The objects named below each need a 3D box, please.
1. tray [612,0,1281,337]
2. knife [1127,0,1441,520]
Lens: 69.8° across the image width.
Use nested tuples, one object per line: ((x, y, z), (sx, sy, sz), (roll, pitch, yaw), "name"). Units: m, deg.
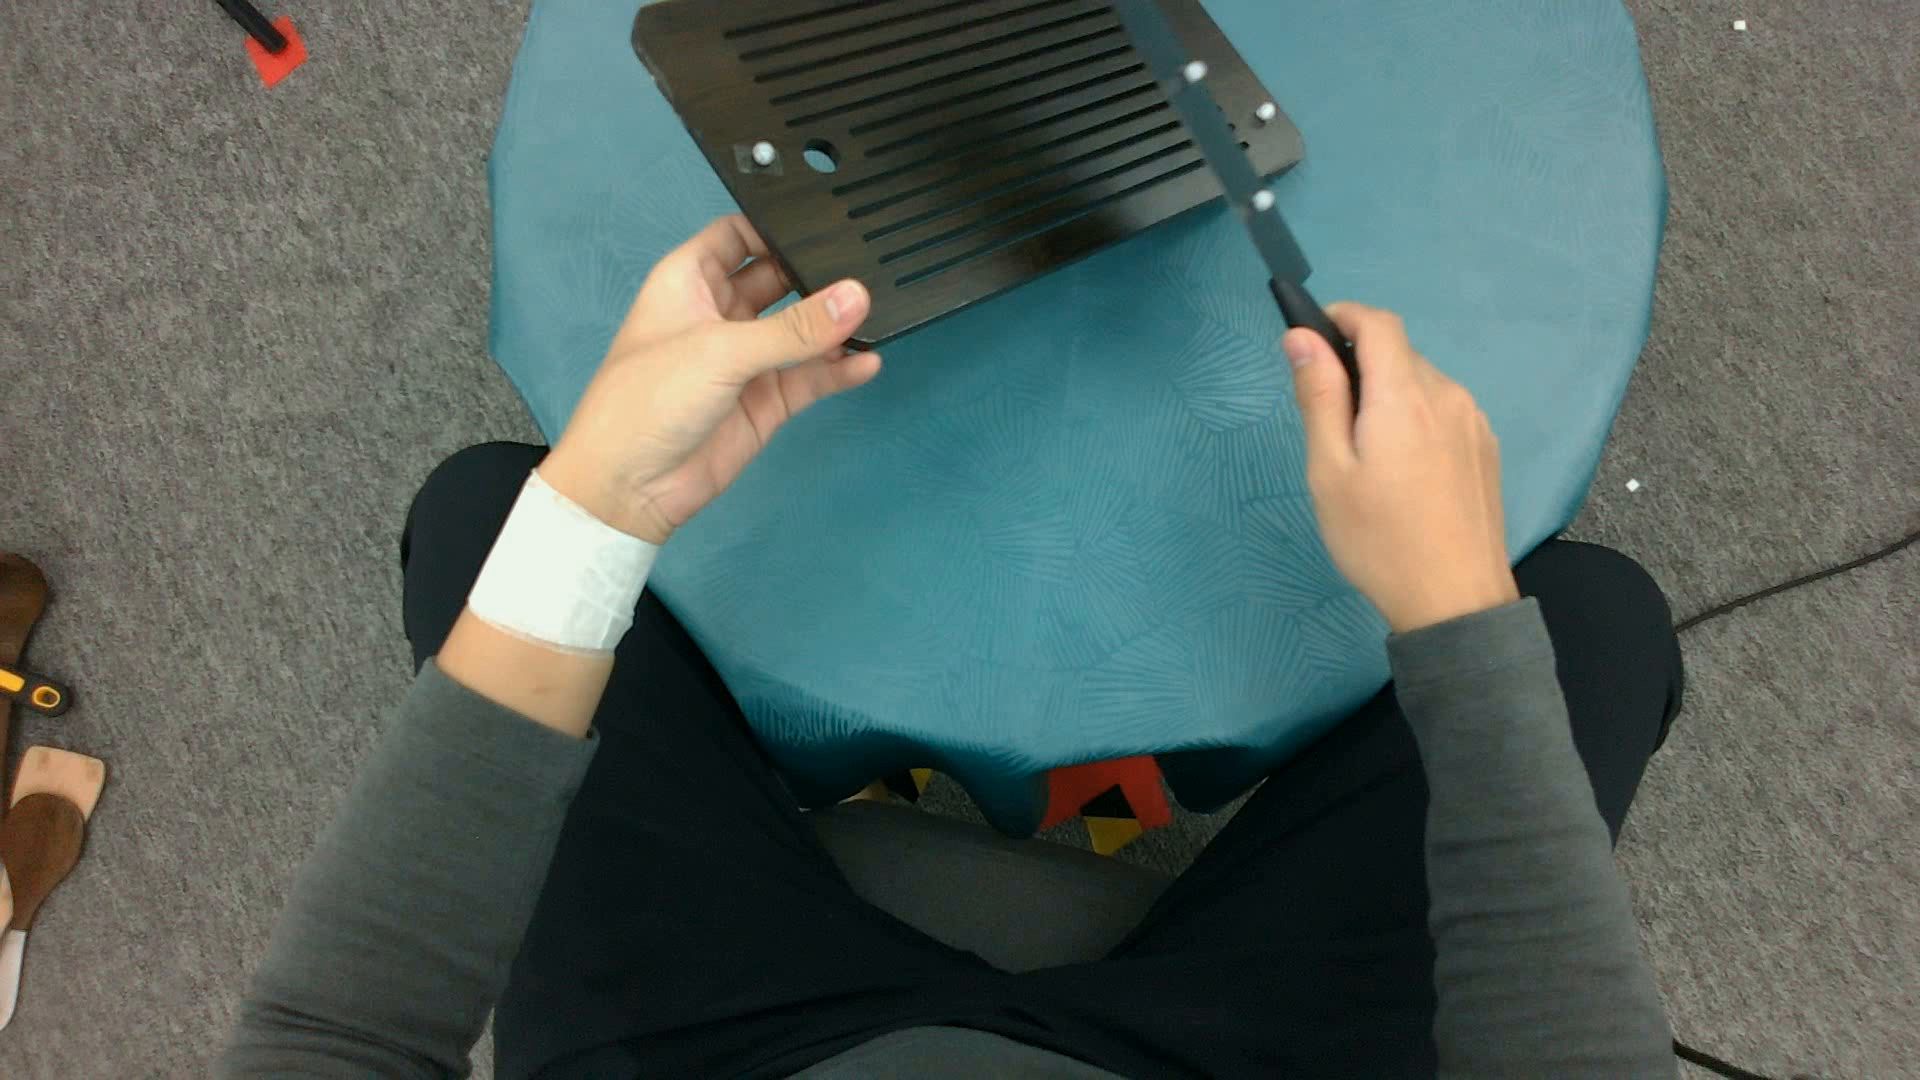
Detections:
((0.009, -0.207, 0.635), (0.307, 0.018, 0.170), (-30, 81, -33), "tray")
((0.129, -0.141, 0.586), (0.021, 0.081, 0.302), (-26, 95, 32), "knife")
